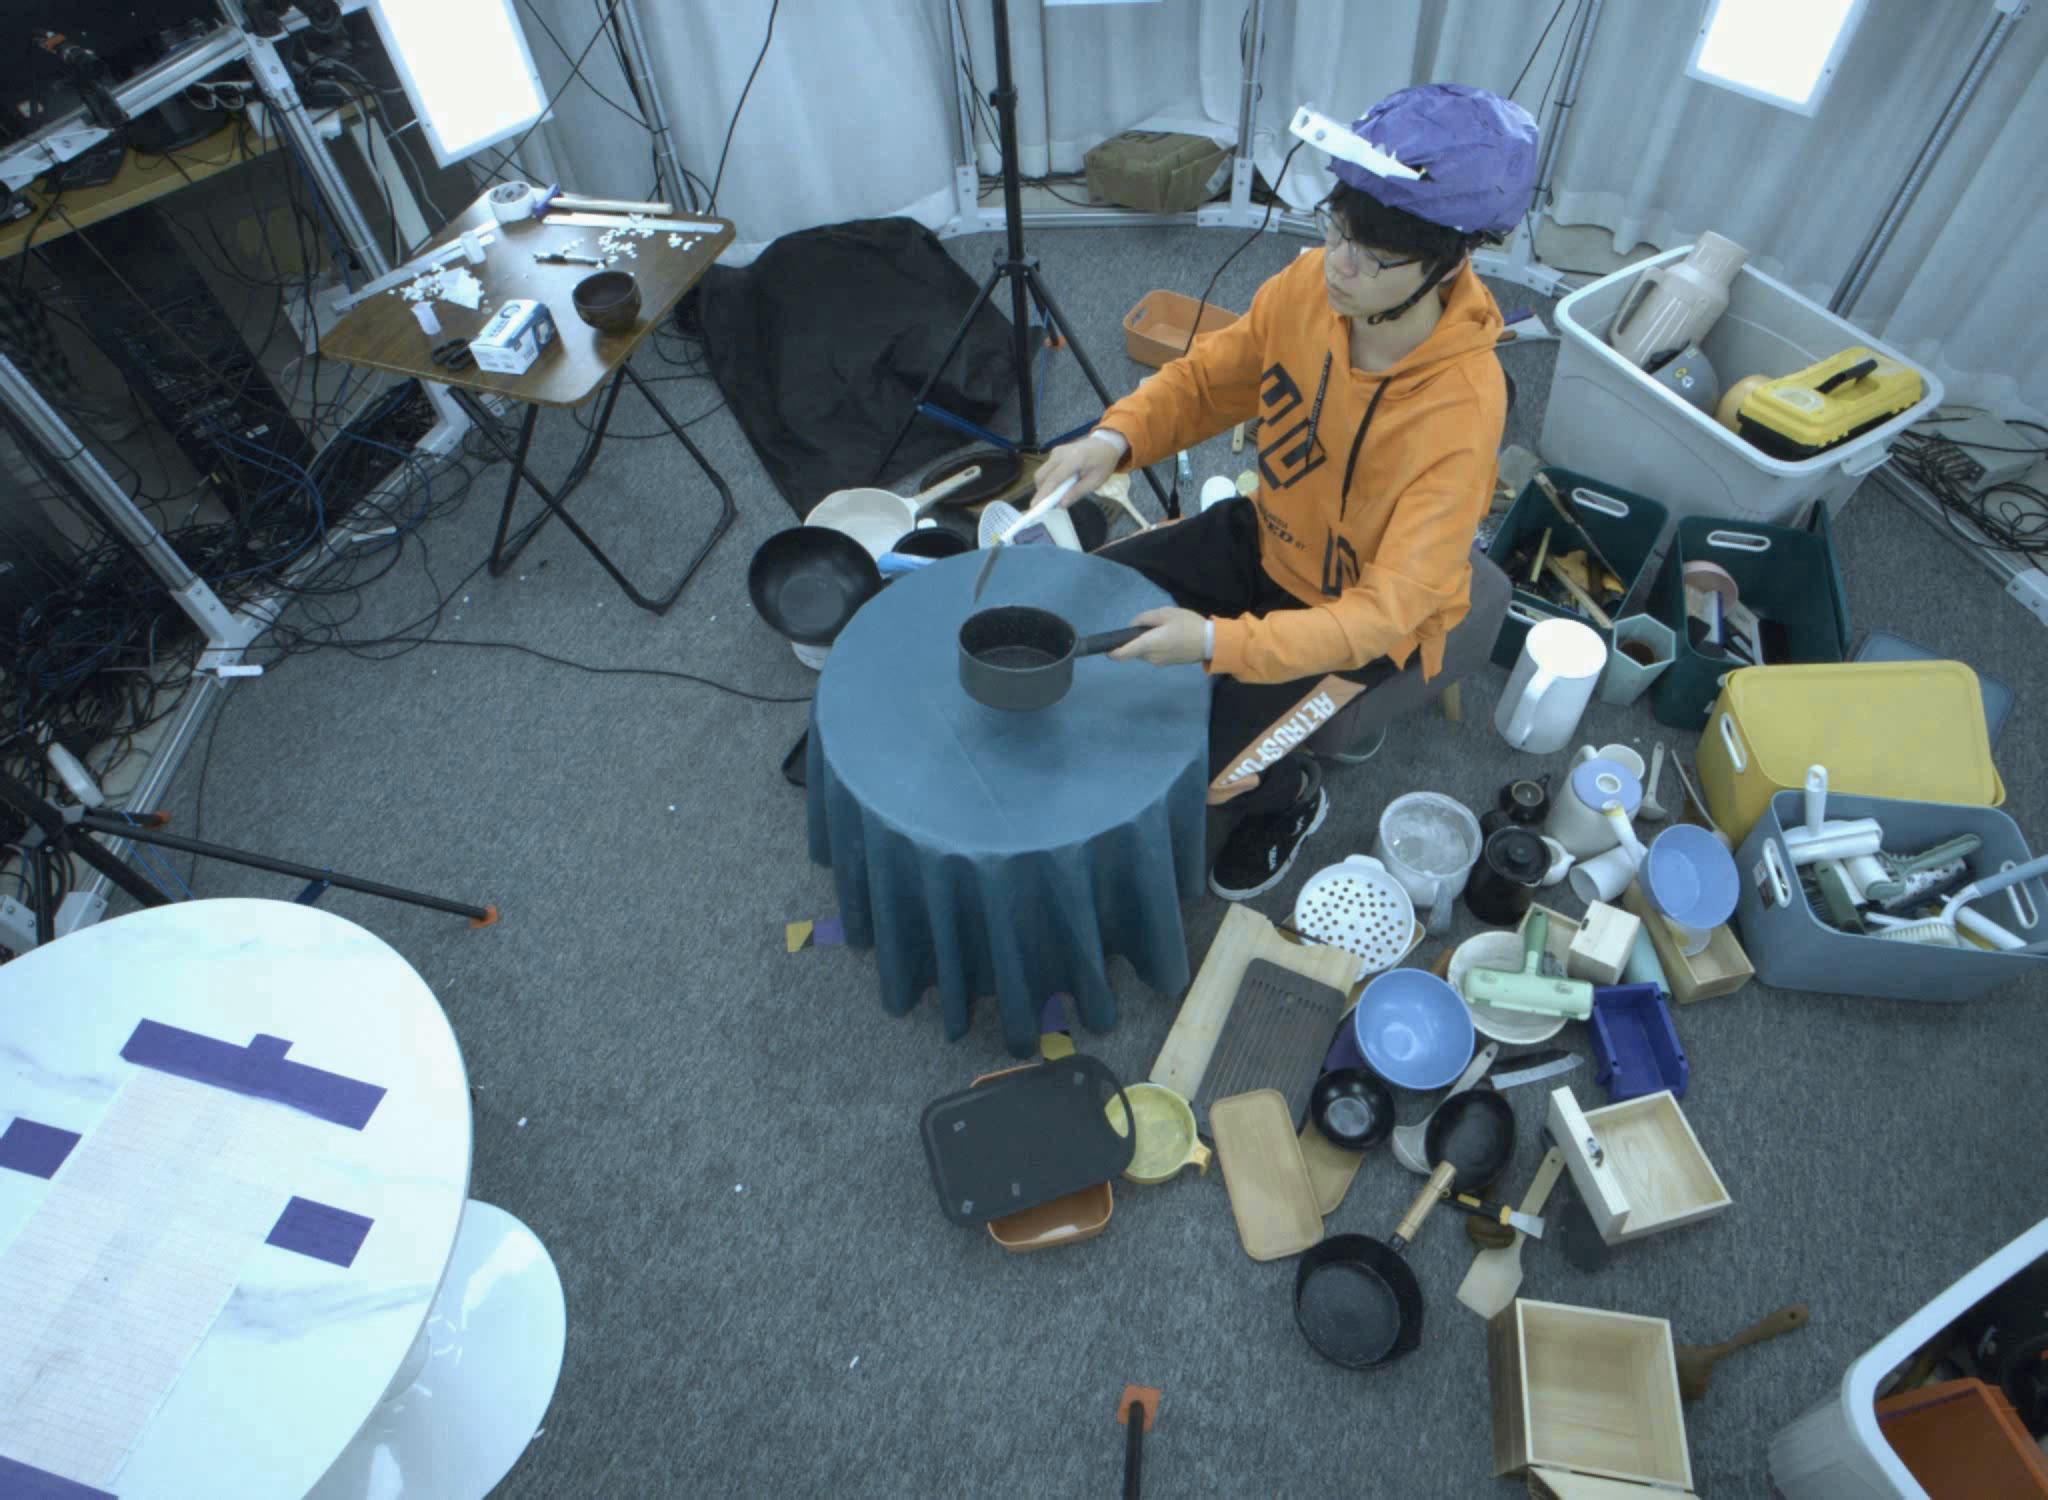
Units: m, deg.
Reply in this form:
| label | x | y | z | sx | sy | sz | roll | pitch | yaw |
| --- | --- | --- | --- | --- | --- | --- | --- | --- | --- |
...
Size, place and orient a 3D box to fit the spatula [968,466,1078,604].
| label | x | y | z | sx | sy | sz | roll | pitch | yaw |
| --- | --- | --- | --- | --- | --- | --- | --- | --- | --- |
| spatula | -0.008 | -0.315 | 1.746 | 0.032 | 0.059 | 0.288 | 31 | 58 | 9 |

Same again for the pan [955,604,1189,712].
| label | x | y | z | sx | sy | sz | roll | pitch | yaw |
| --- | --- | --- | --- | --- | --- | --- | --- | --- | --- |
| pan | 0.067 | -0.134 | 1.741 | 0.330 | 0.087 | 0.169 | -3 | 41 | -6 |
